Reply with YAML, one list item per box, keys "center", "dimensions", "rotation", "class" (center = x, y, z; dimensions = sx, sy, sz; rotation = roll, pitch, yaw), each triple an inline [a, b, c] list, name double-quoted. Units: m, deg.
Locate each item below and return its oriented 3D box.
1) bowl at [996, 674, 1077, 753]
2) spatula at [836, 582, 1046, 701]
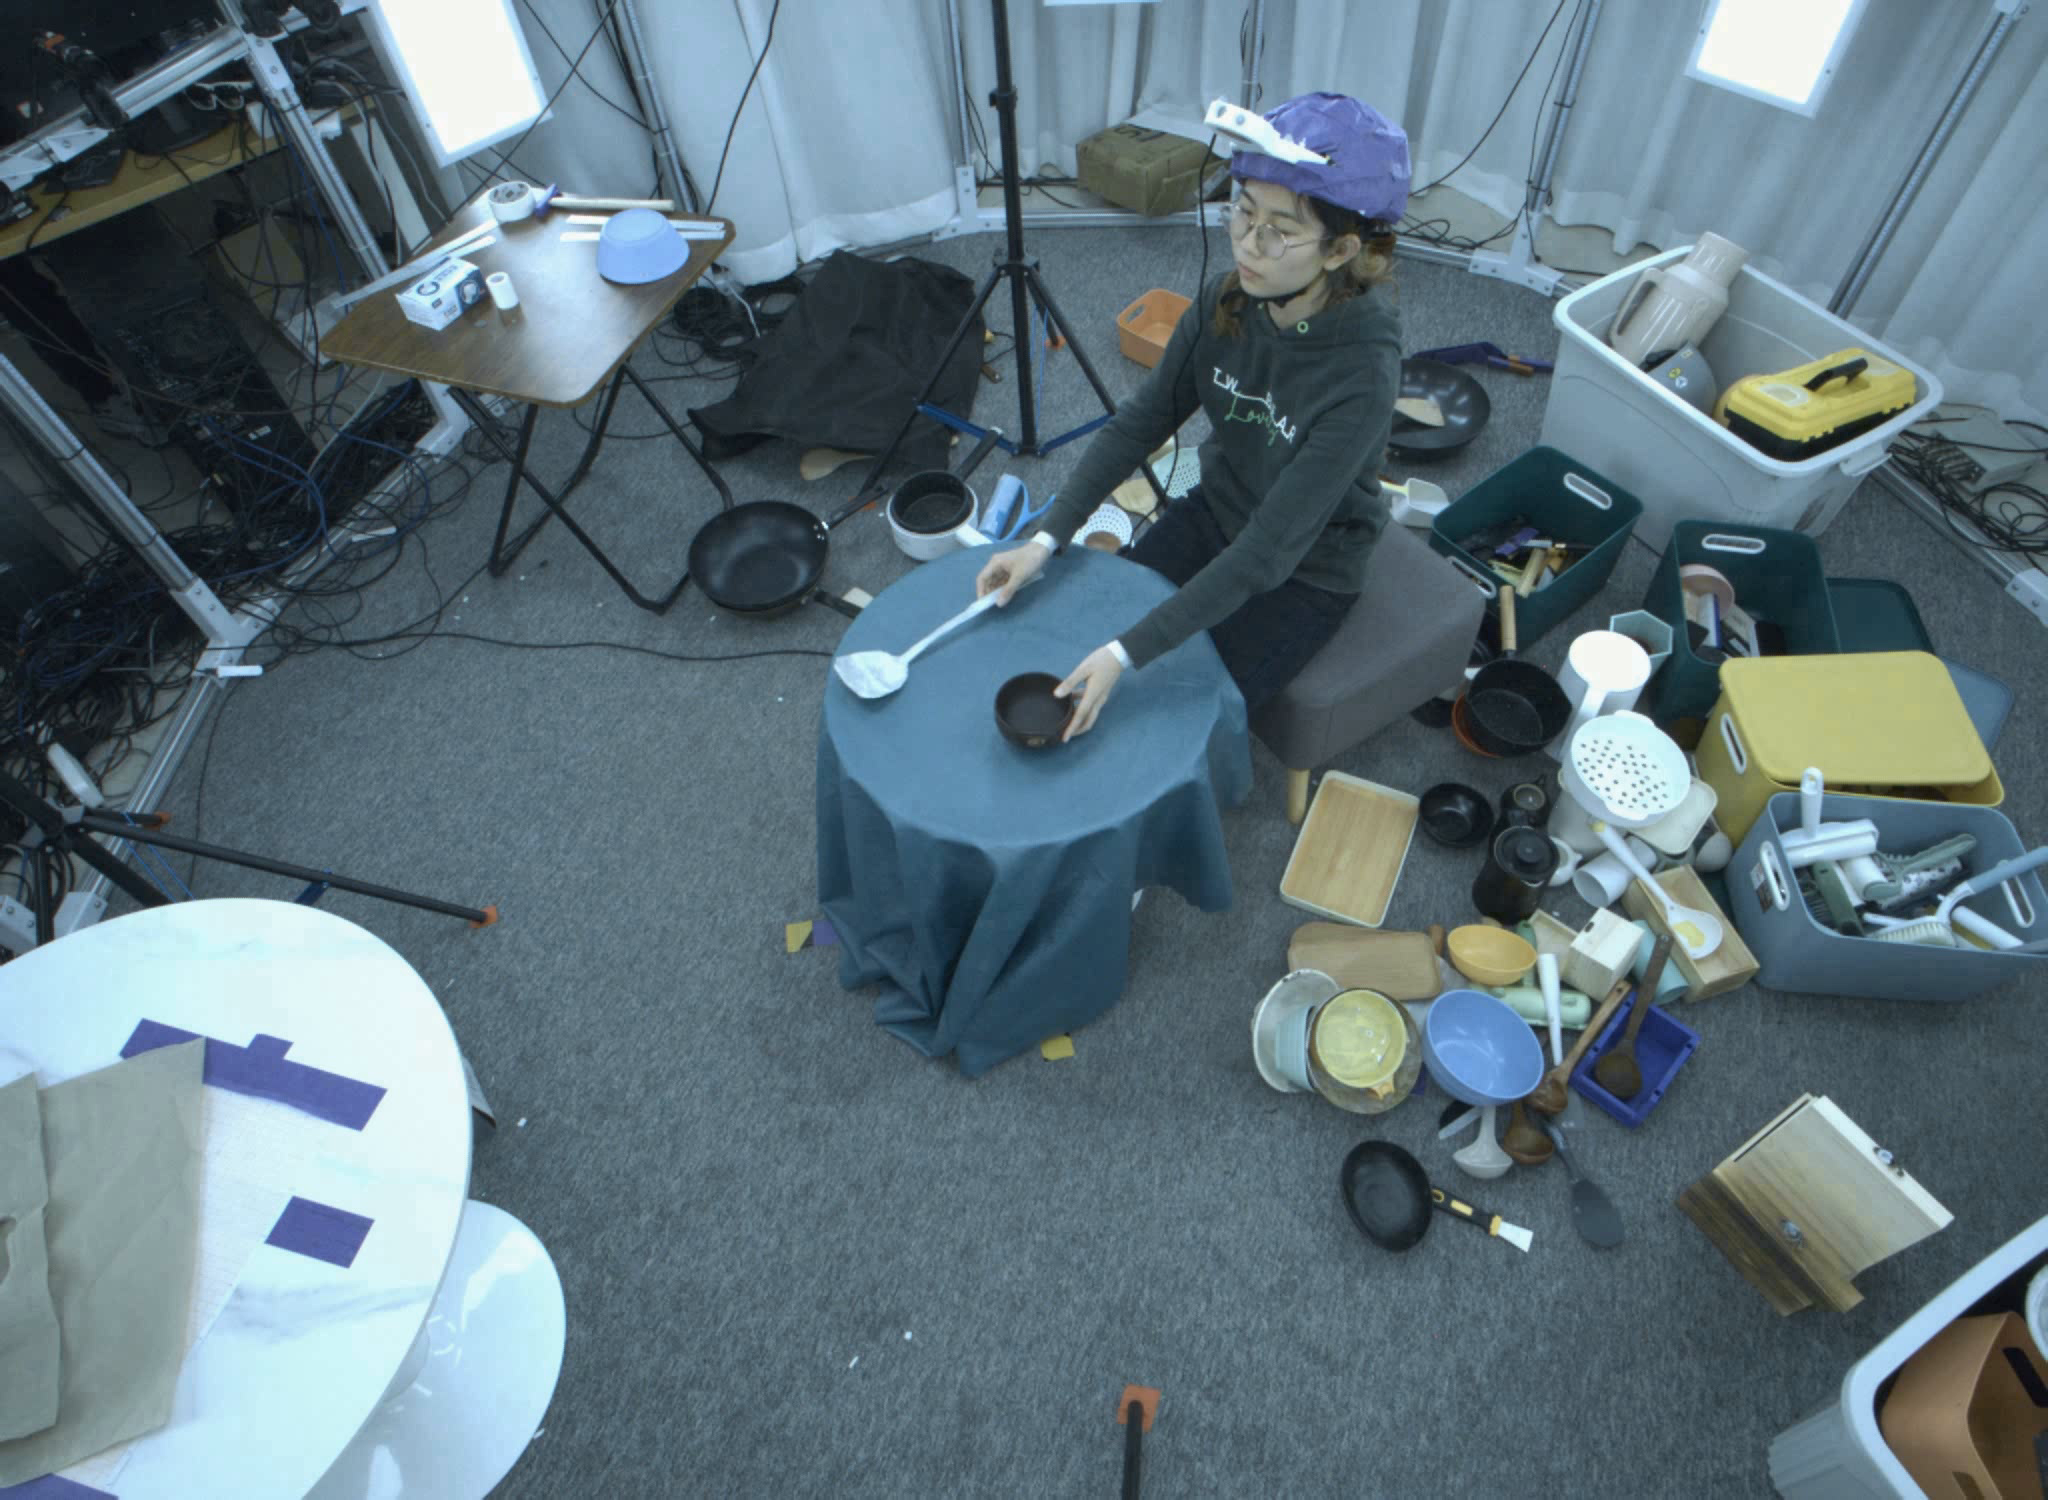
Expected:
- center: [0.018, -0.045, 1.785]
  dimensions: [0.118, 0.070, 0.117]
  rotation: [0, 56, 1]
  class: "bowl"
- center: [-0.120, -0.183, 1.899]
  dimensions: [0.367, 0.045, 0.097]
  rotation: [-34, 61, -16]
  class: "spatula"
